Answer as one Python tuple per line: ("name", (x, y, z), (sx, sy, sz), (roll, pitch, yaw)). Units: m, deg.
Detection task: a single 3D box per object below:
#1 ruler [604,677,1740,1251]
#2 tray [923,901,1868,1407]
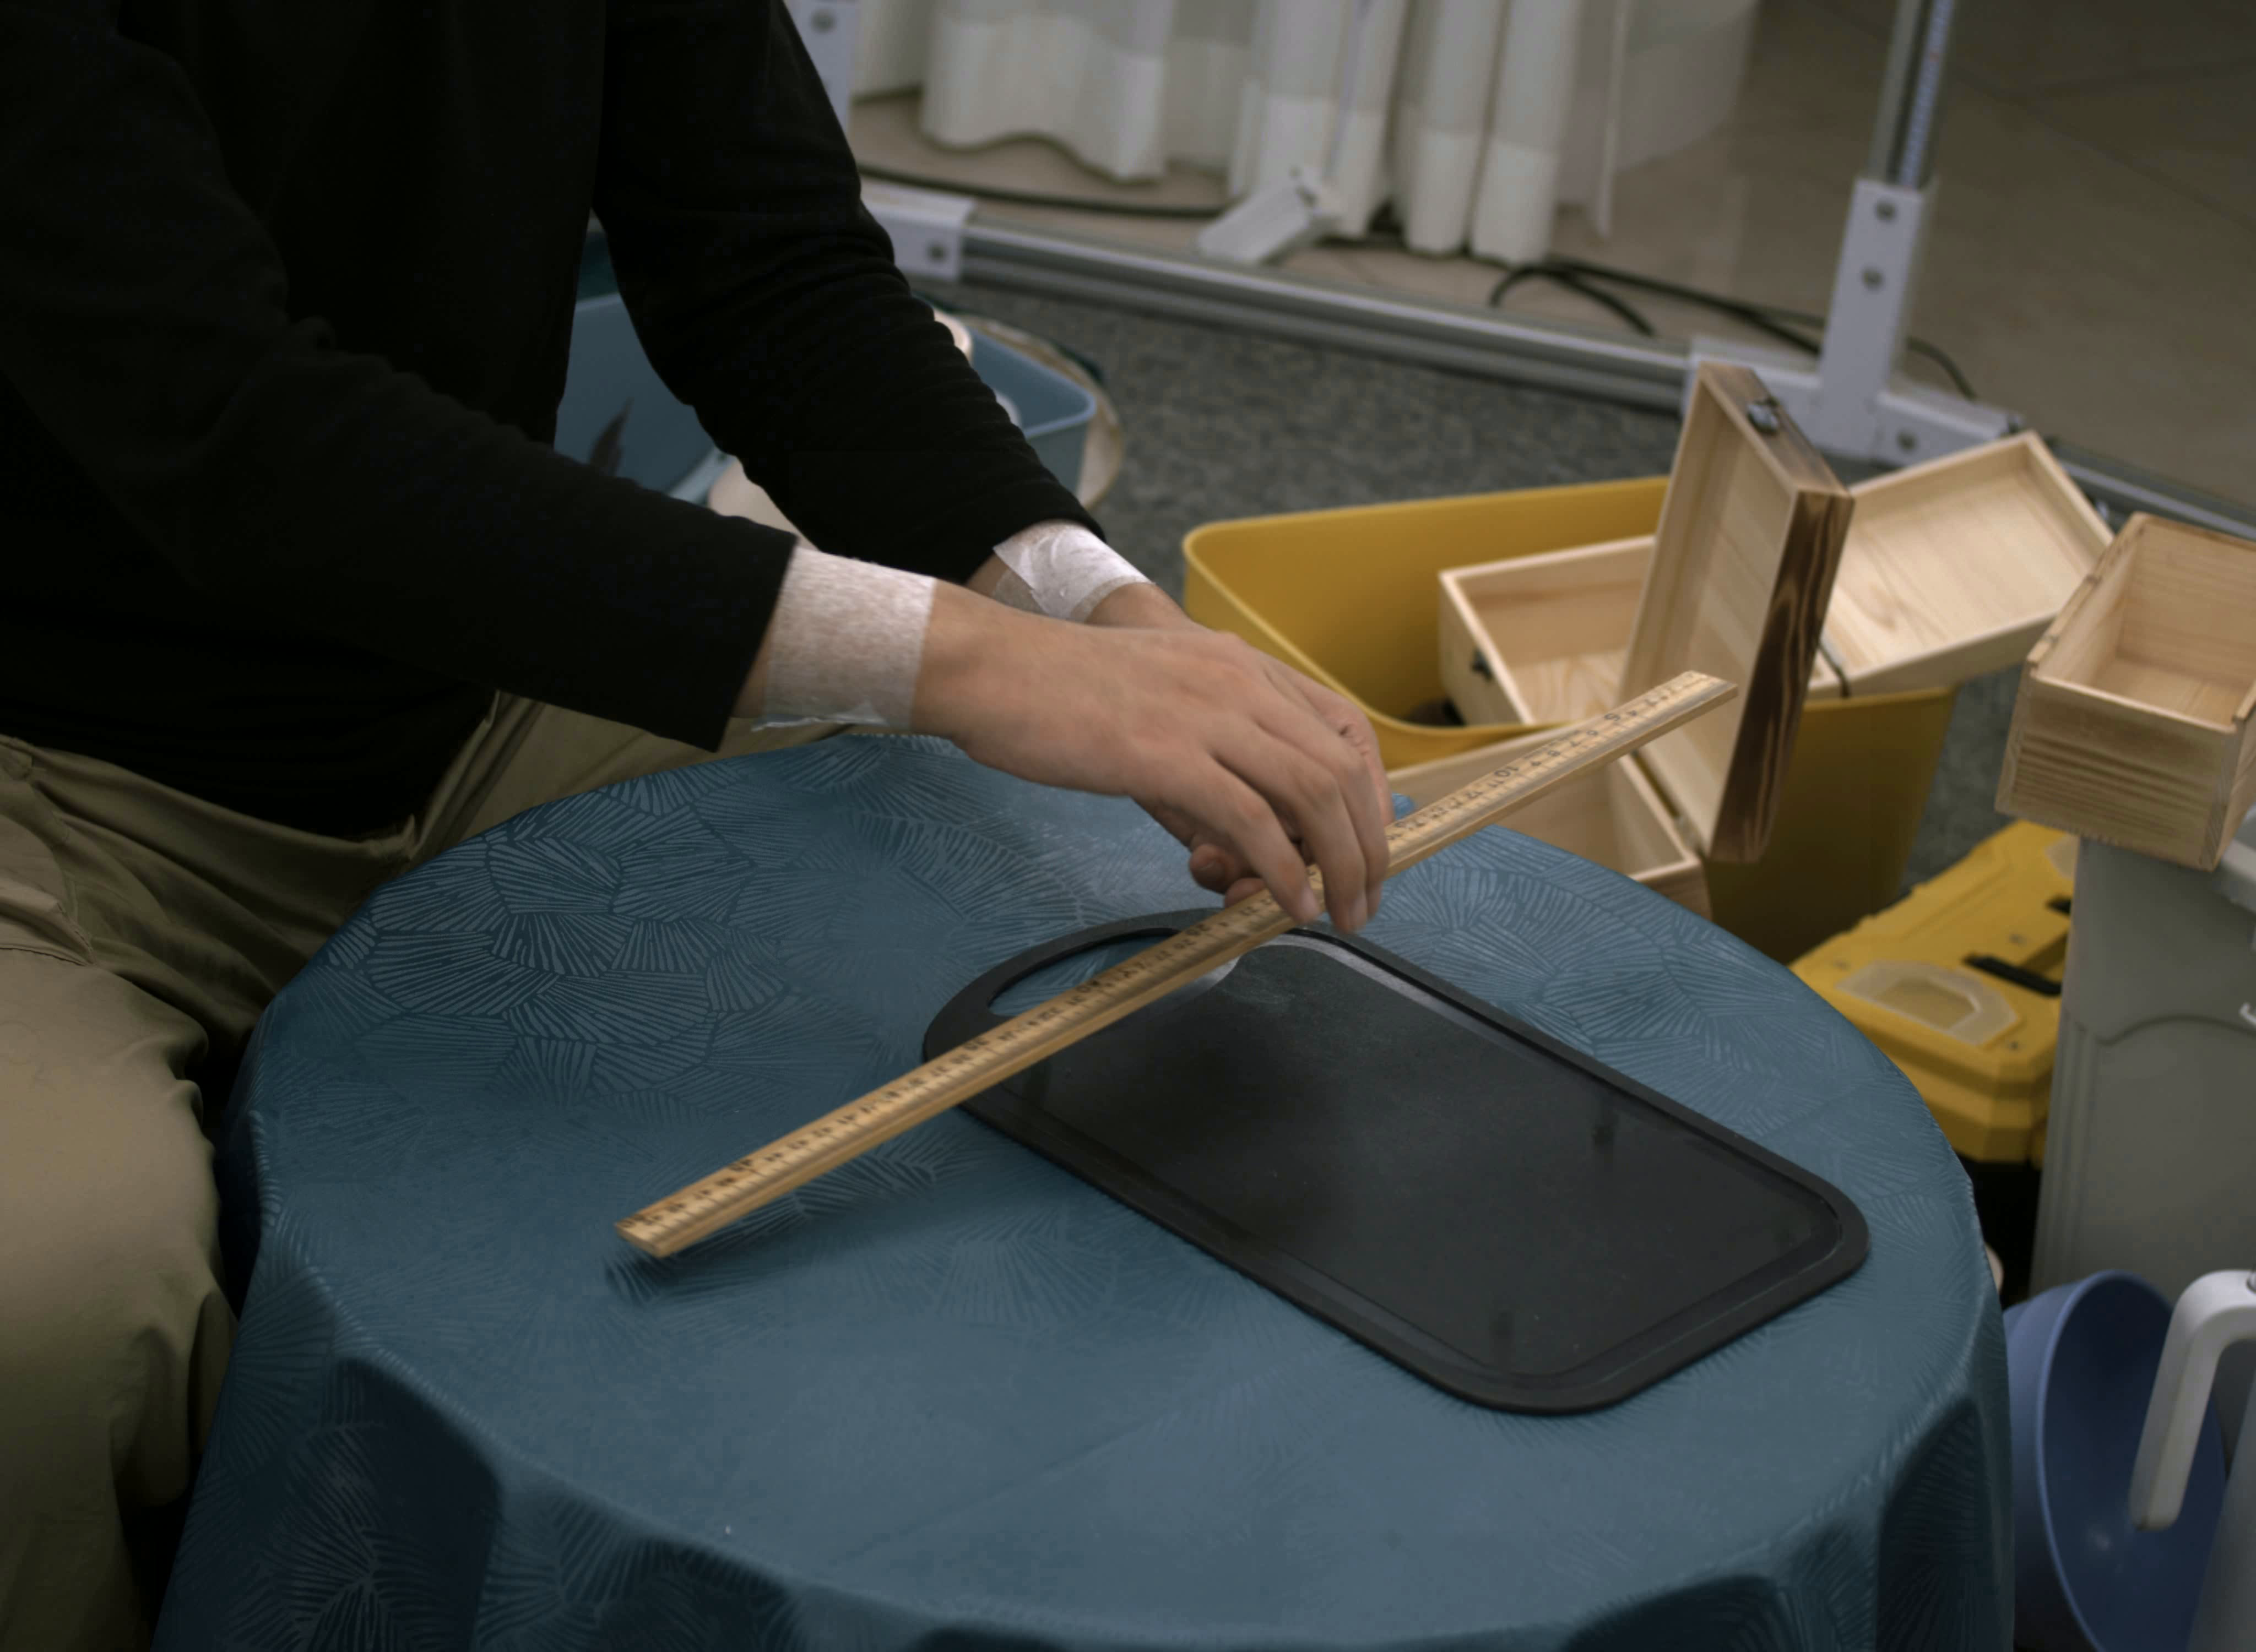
("ruler", (0.027, 0.040, 1.847), (0.498, 0.006, 0.027), (-26, 26, -31))
("tray", (0.084, 0.104, 1.849), (0.328, 0.010, 0.210), (29, 34, 36))
